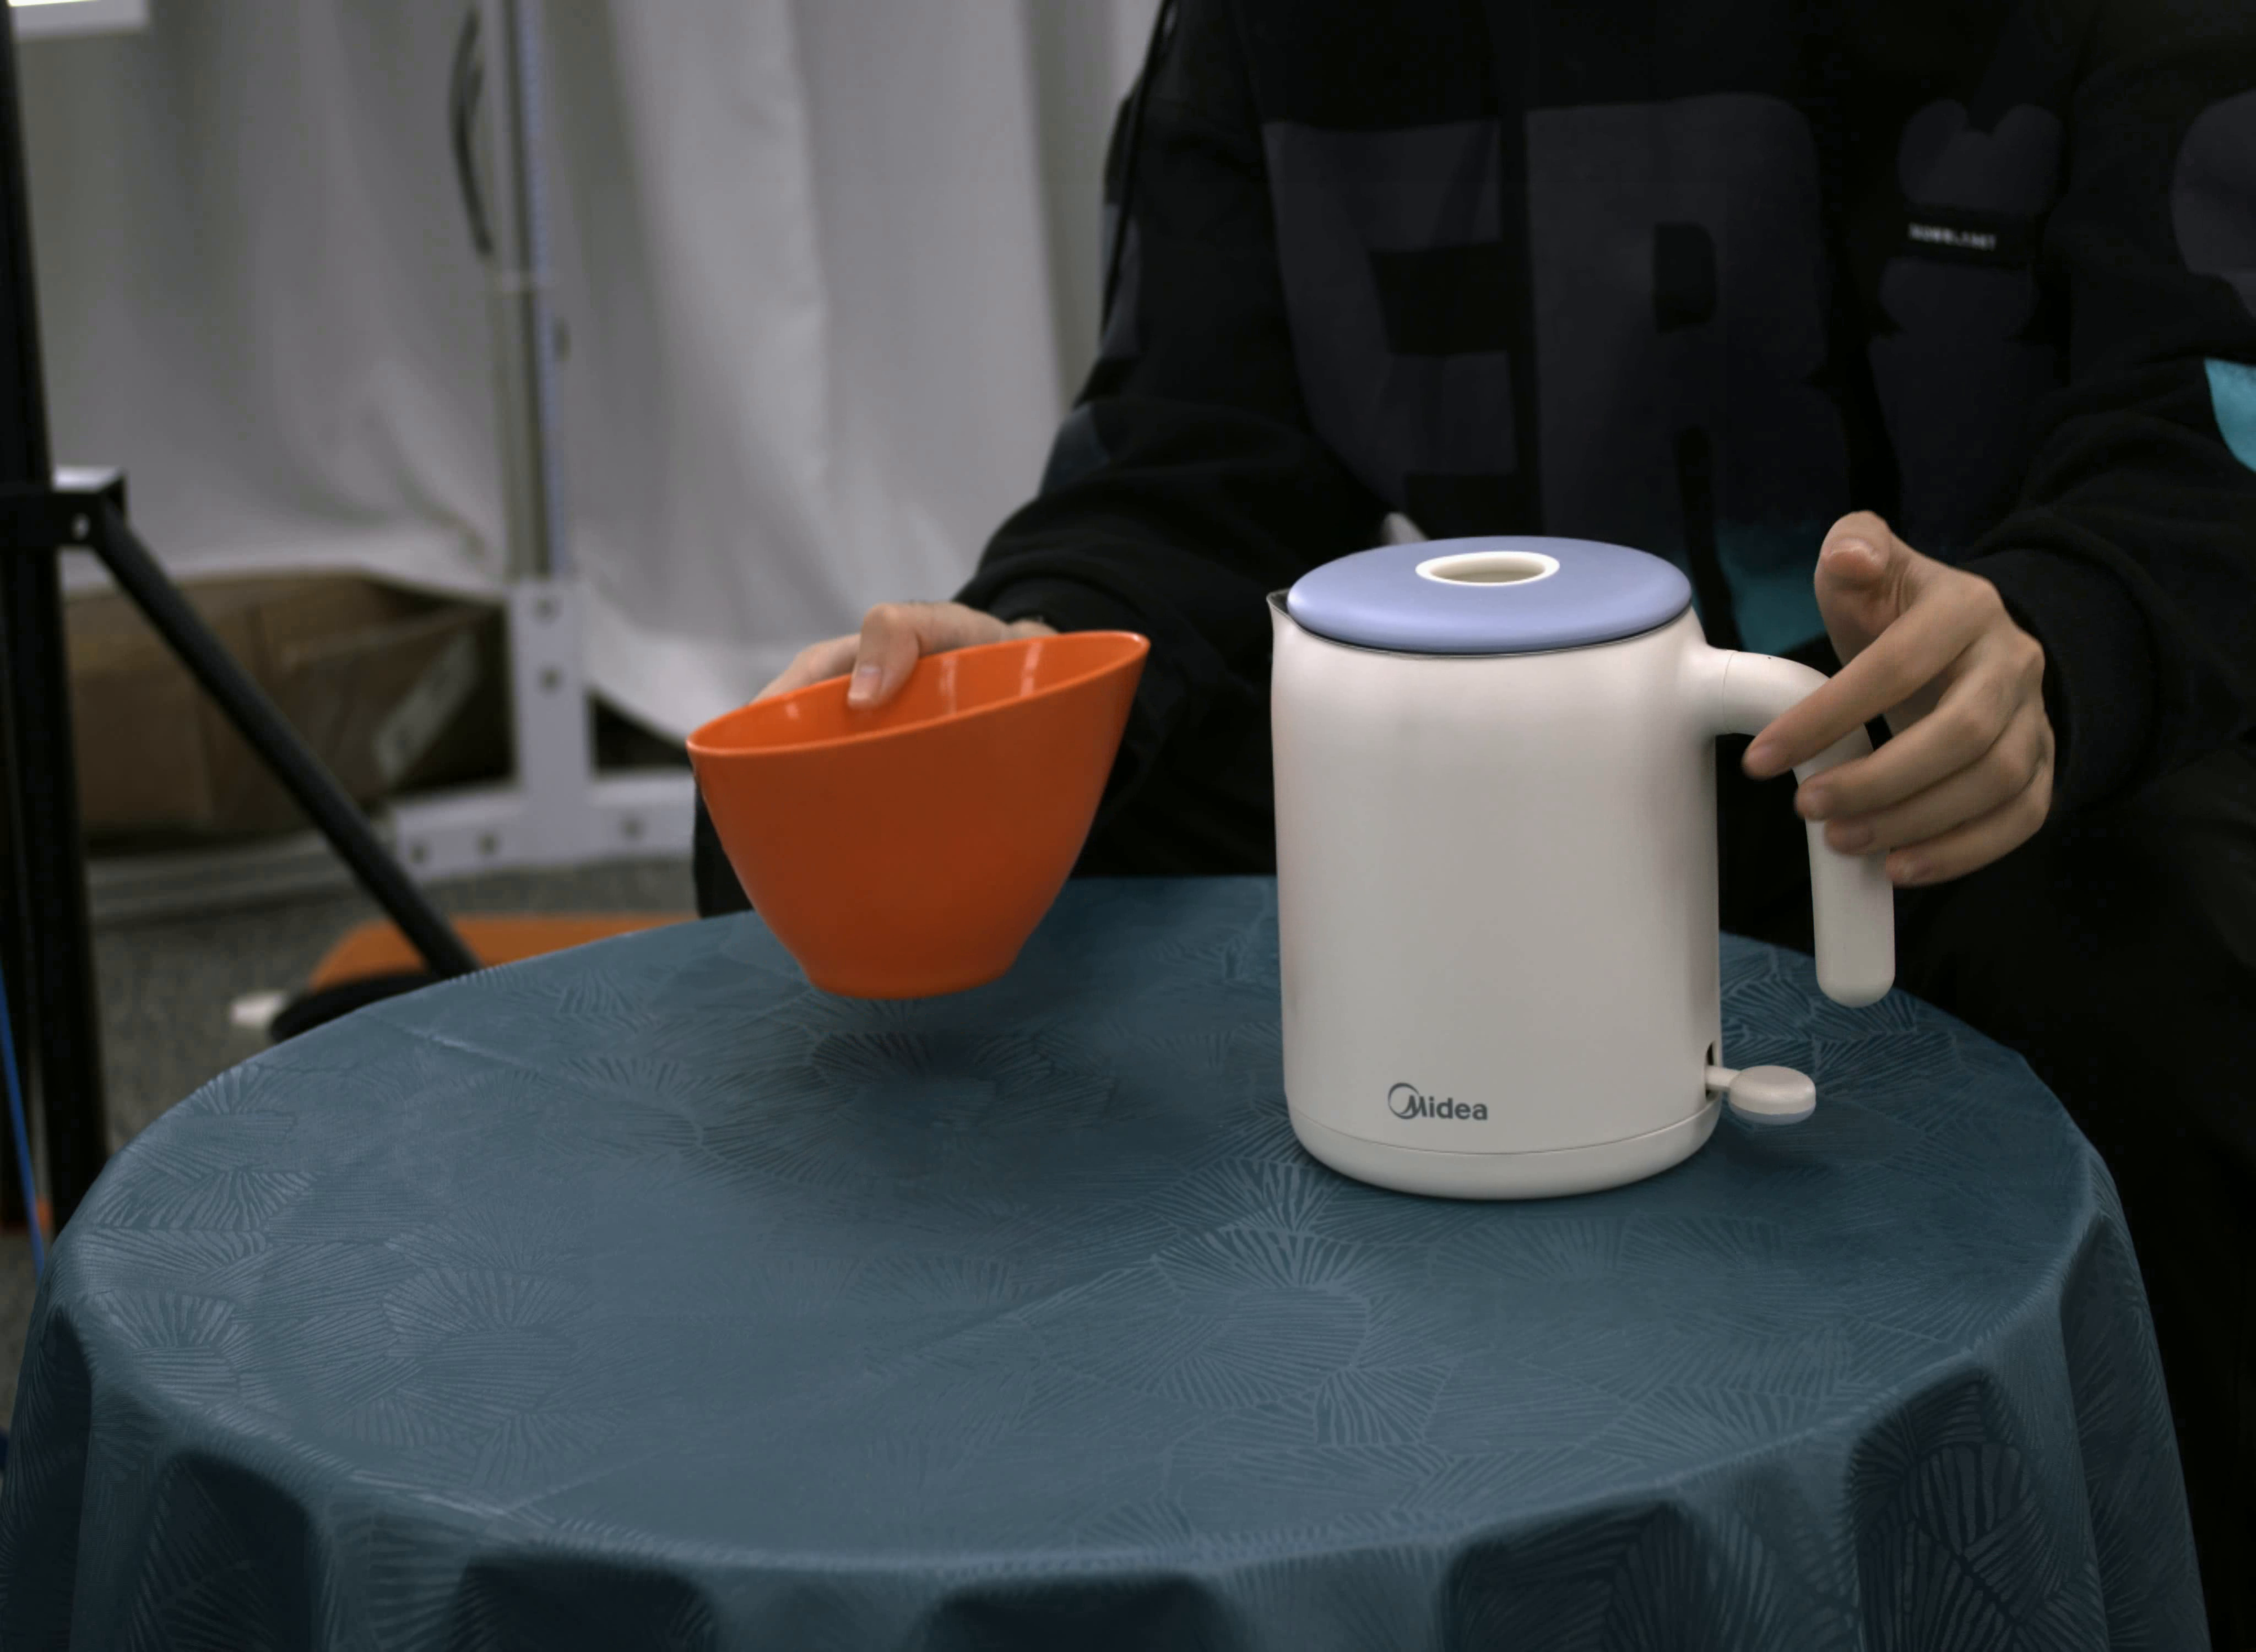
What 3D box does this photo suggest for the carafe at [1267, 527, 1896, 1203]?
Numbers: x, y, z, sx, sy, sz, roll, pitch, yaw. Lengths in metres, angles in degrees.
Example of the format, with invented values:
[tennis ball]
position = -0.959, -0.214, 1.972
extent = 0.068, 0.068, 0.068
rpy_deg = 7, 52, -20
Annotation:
[carafe]
position = 0.132, 0.013, 1.559
extent = 0.193, 0.182, 0.131
rpy_deg = 6, 18, 20

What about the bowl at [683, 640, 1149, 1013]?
[bowl]
position = -0.064, 0.001, 1.668
extent = 0.147, 0.104, 0.149
rpy_deg = -4, 16, 0
